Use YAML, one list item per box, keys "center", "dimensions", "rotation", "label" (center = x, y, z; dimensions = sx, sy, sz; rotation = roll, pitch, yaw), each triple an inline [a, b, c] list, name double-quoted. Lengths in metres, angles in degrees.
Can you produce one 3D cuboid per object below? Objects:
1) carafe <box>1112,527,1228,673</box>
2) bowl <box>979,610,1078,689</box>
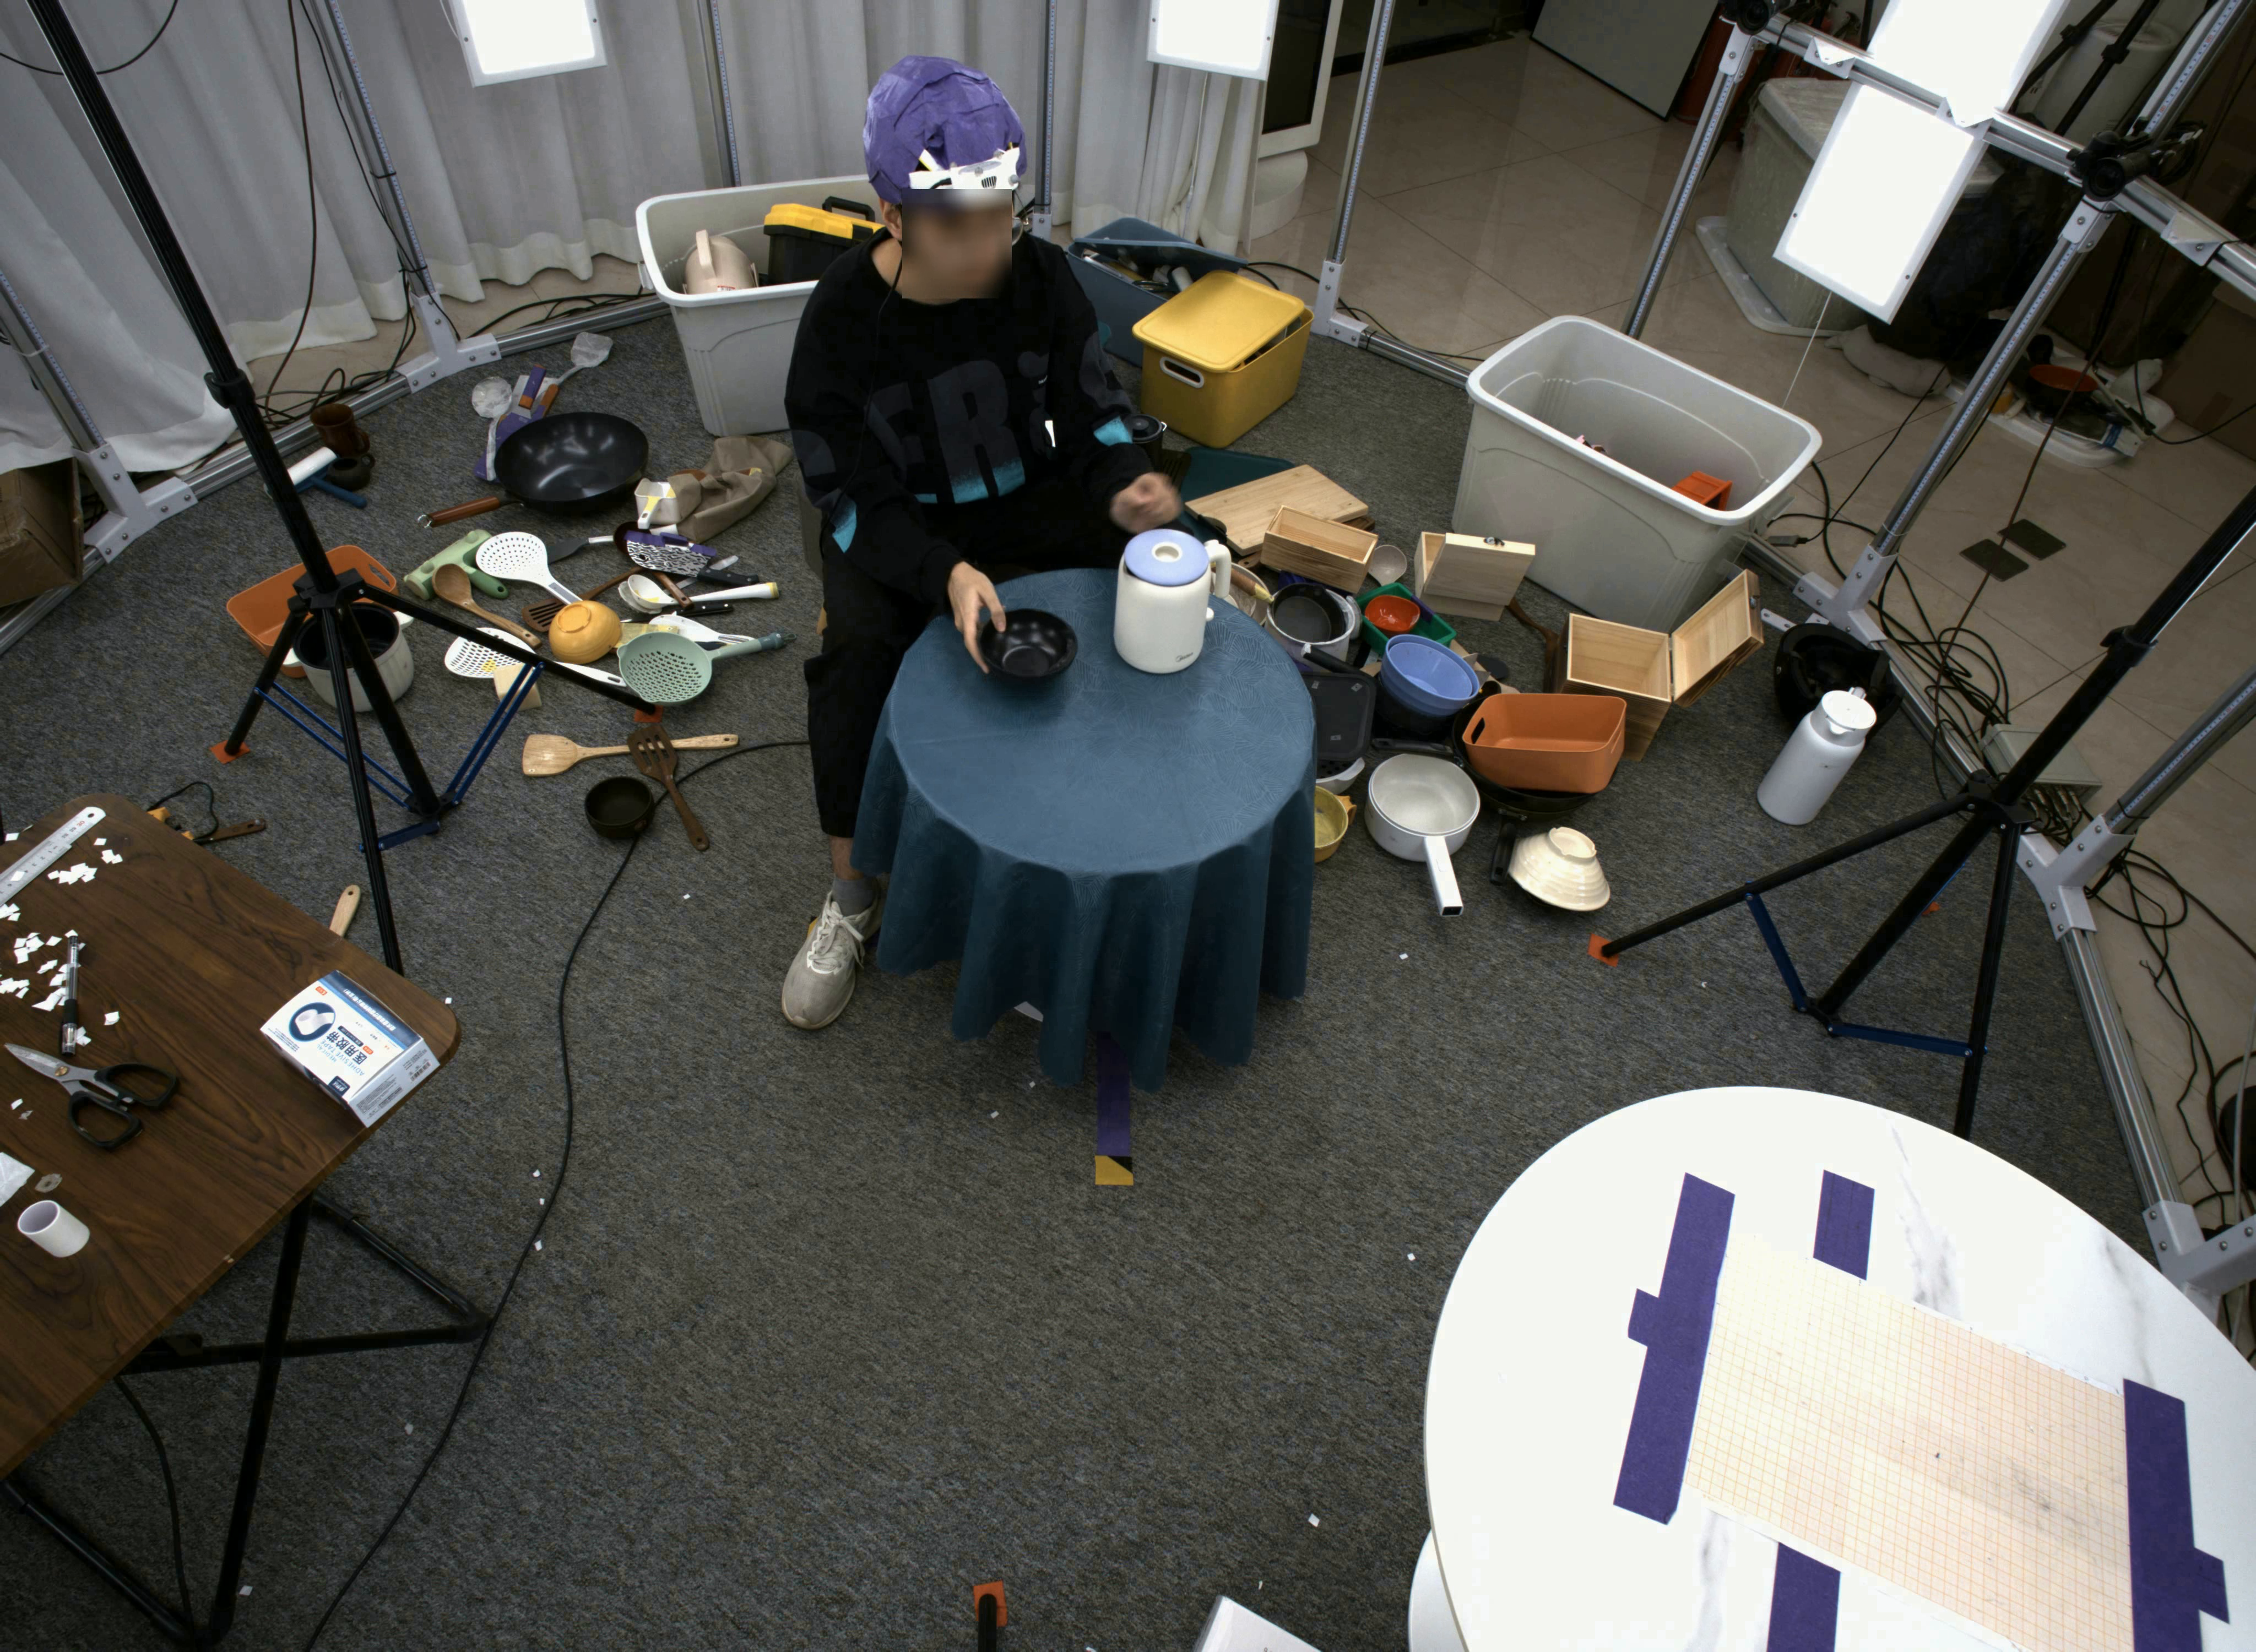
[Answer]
- center: [0.068, -0.332, 1.850]
  dimensions: [0.192, 0.178, 0.135]
  rotation: [-25, 57, -26]
  label: "carafe"
- center: [-0.140, -0.241, 1.814]
  dimensions: [0.140, 0.048, 0.143]
  rotation: [3, 49, -3]
  label: "bowl"
